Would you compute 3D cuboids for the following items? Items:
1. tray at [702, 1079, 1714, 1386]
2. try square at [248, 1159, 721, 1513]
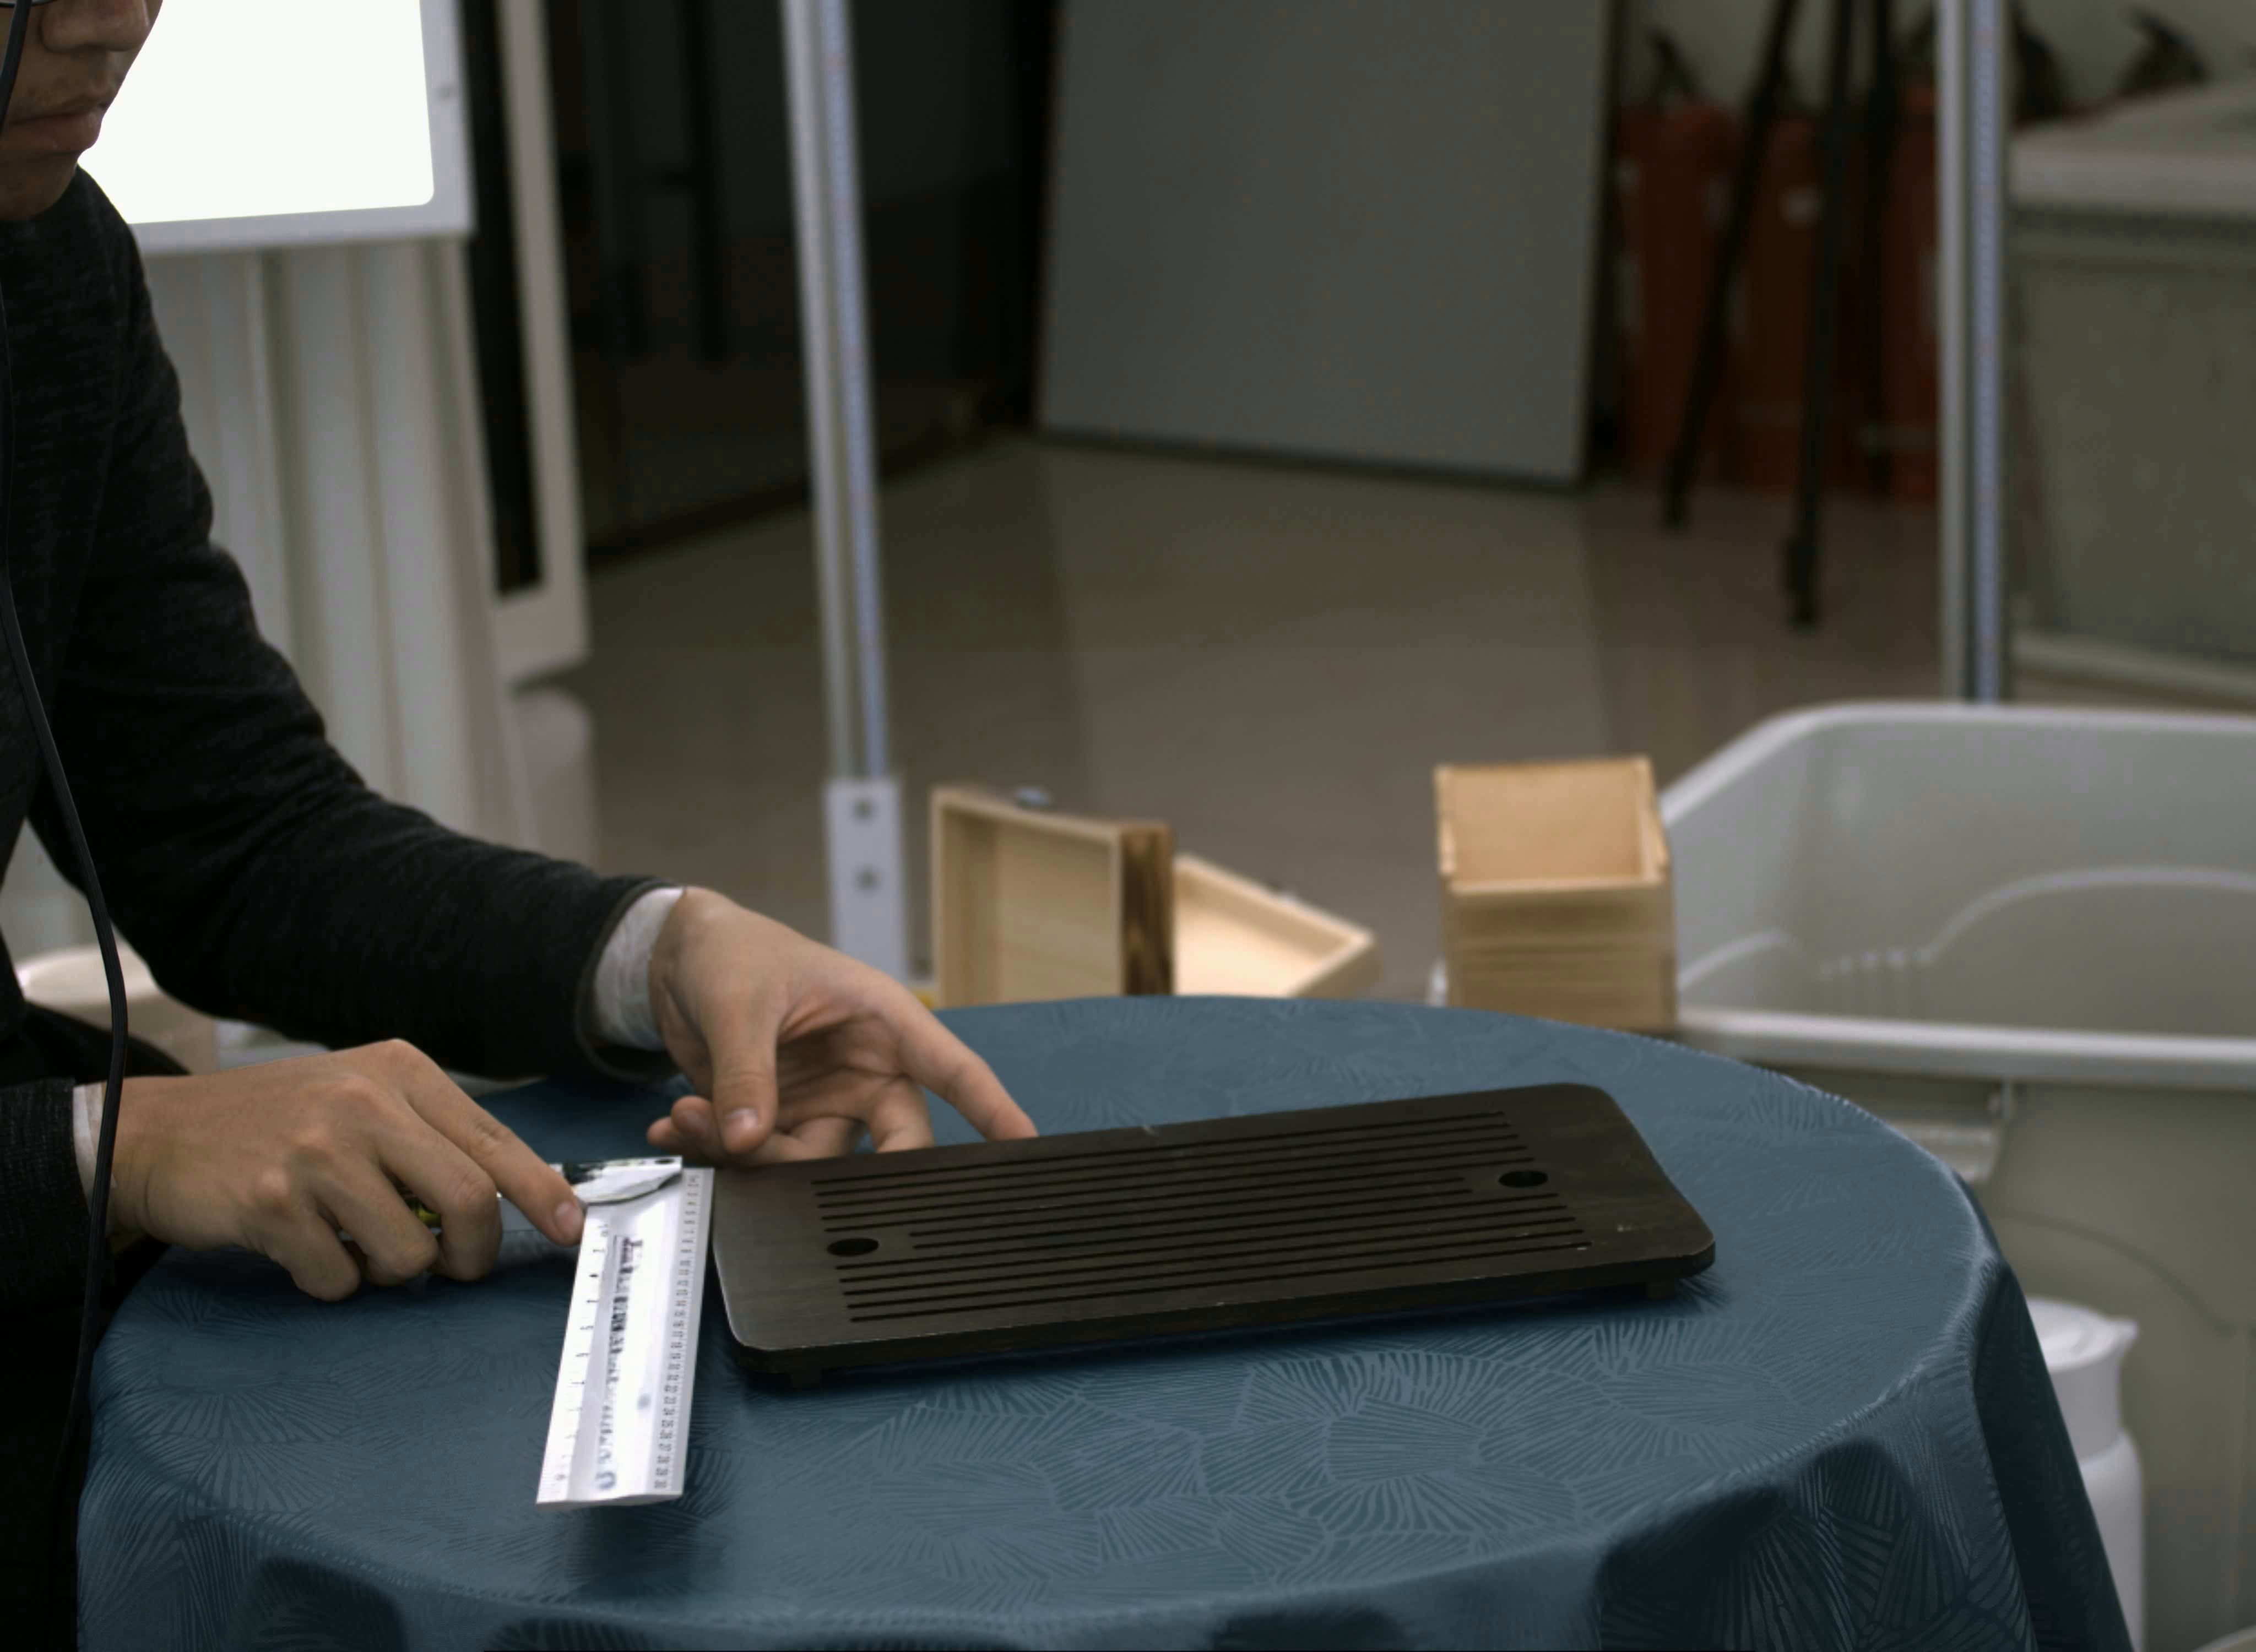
[{"bbox_3d":[0.021,0.127,1.693,0.301,0.019,0.171,-6,16,-6],"label":"tray"},{"bbox_3d":[-0.200,0.153,1.606,0.150,0.016,0.313,-6,13,-1],"label":"try square"}]
